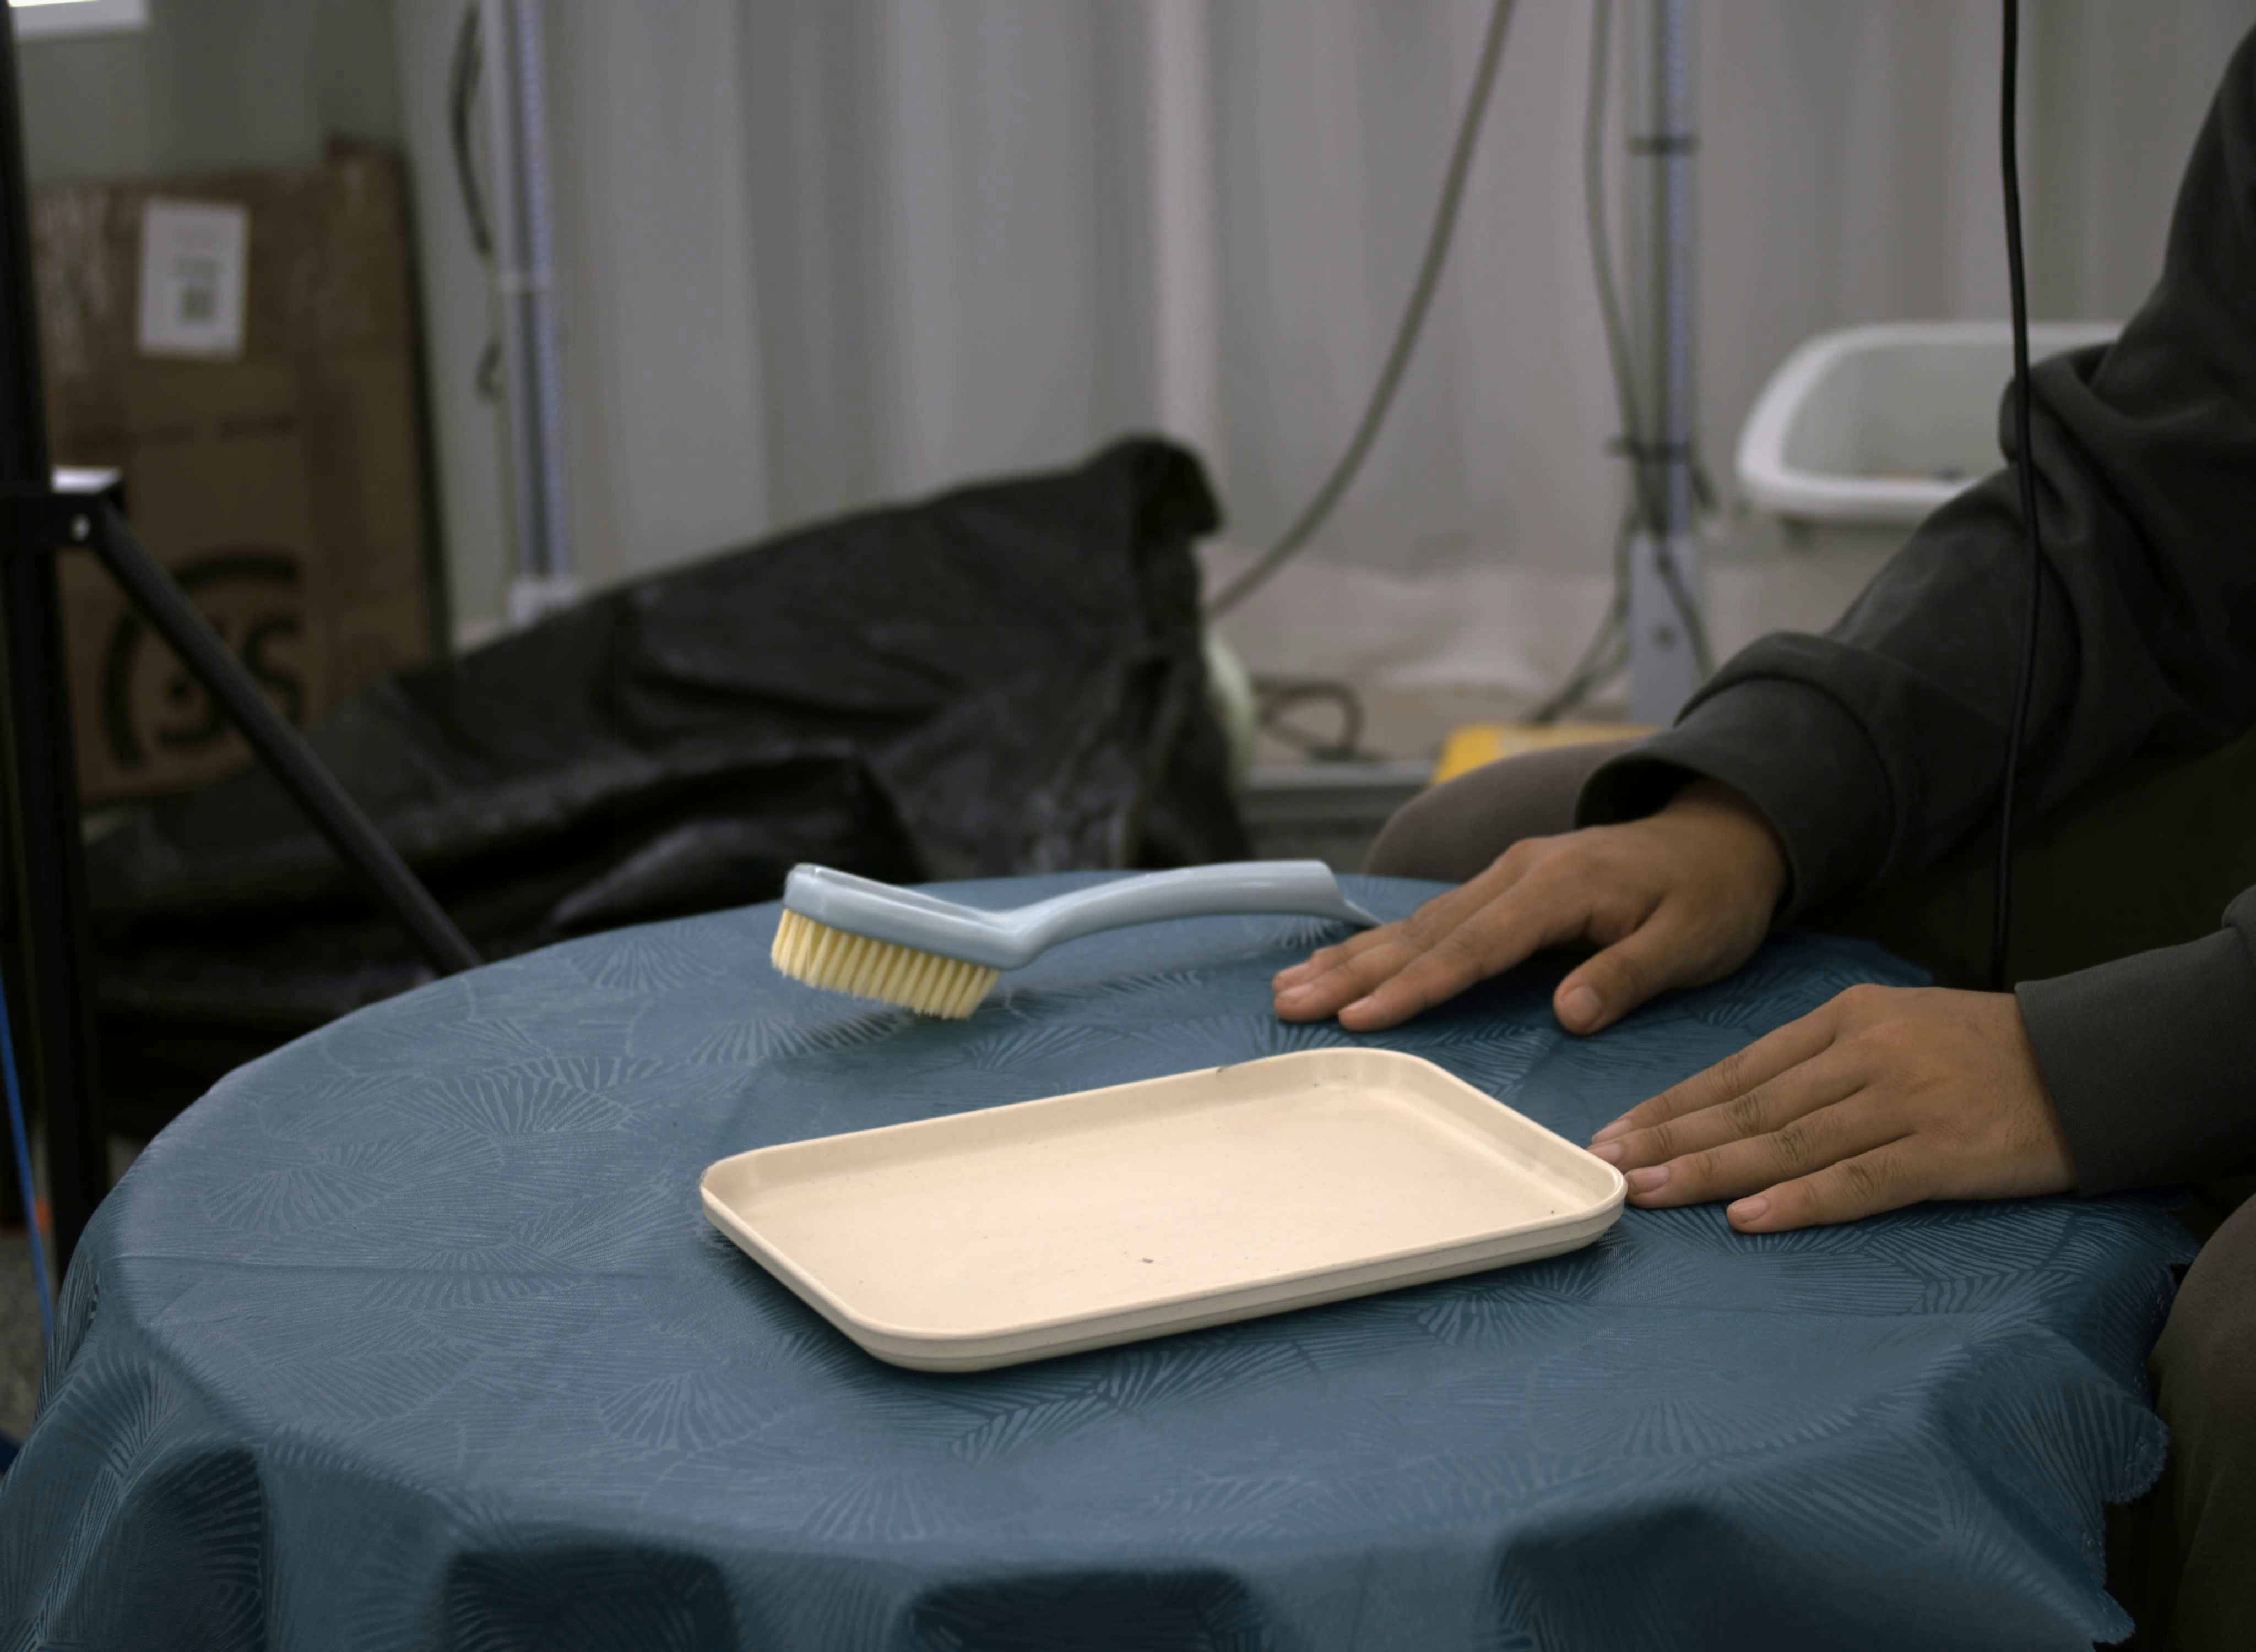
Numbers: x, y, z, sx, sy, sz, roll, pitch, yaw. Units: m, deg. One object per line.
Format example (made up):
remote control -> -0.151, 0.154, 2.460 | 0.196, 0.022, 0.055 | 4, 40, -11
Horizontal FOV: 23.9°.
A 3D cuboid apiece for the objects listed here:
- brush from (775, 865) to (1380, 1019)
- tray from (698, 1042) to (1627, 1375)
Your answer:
brush -> -0.015, 0.037, 1.753 | 0.223, 0.050, 0.038 | -2, 19, -31
tray -> 0.009, 0.109, 1.520 | 0.235, 0.017, 0.174 | -9, 18, -22
